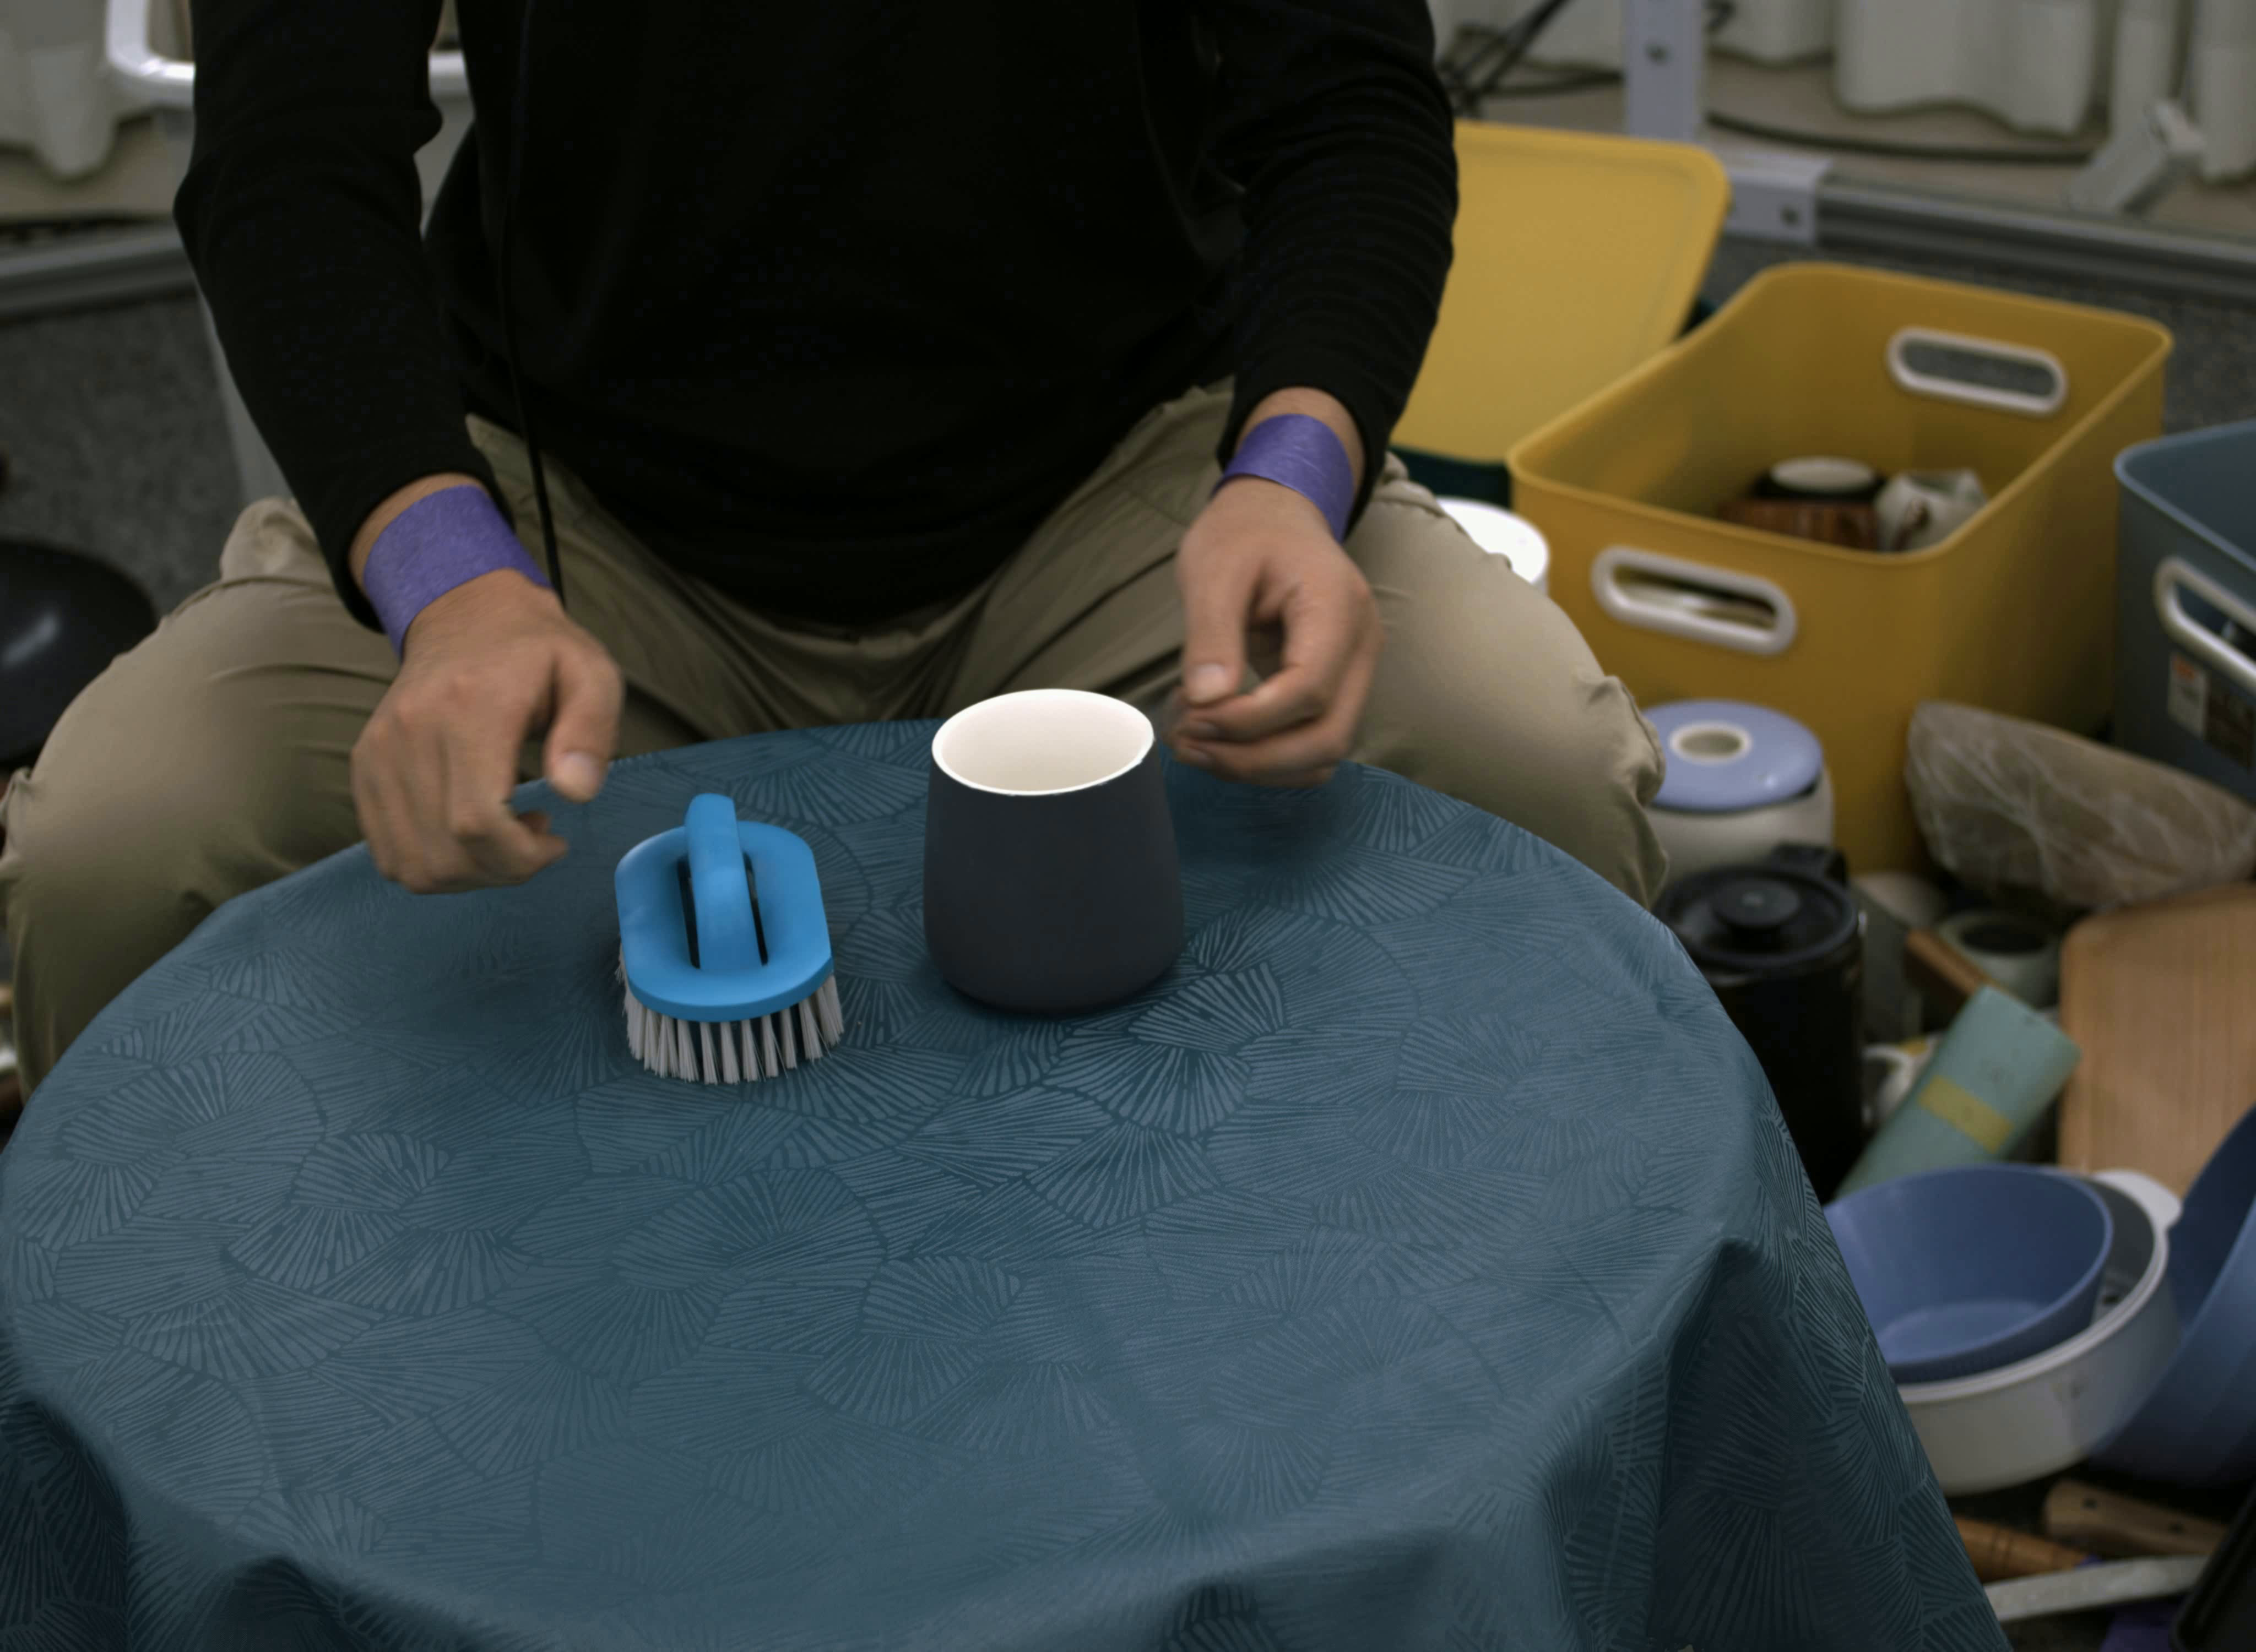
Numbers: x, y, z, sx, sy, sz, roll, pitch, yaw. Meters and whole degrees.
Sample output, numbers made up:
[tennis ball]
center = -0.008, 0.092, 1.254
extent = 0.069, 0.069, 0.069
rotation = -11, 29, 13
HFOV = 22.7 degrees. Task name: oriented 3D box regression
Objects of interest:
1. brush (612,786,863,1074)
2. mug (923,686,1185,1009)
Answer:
[brush]
center = -0.141, 0.028, 1.985
extent = 0.084, 0.063, 0.143
rotation = -10, 27, -3
[mug]
center = -0.028, 0.001, 1.996
extent = 0.093, 0.089, 0.125
rotation = -3, 29, -1
